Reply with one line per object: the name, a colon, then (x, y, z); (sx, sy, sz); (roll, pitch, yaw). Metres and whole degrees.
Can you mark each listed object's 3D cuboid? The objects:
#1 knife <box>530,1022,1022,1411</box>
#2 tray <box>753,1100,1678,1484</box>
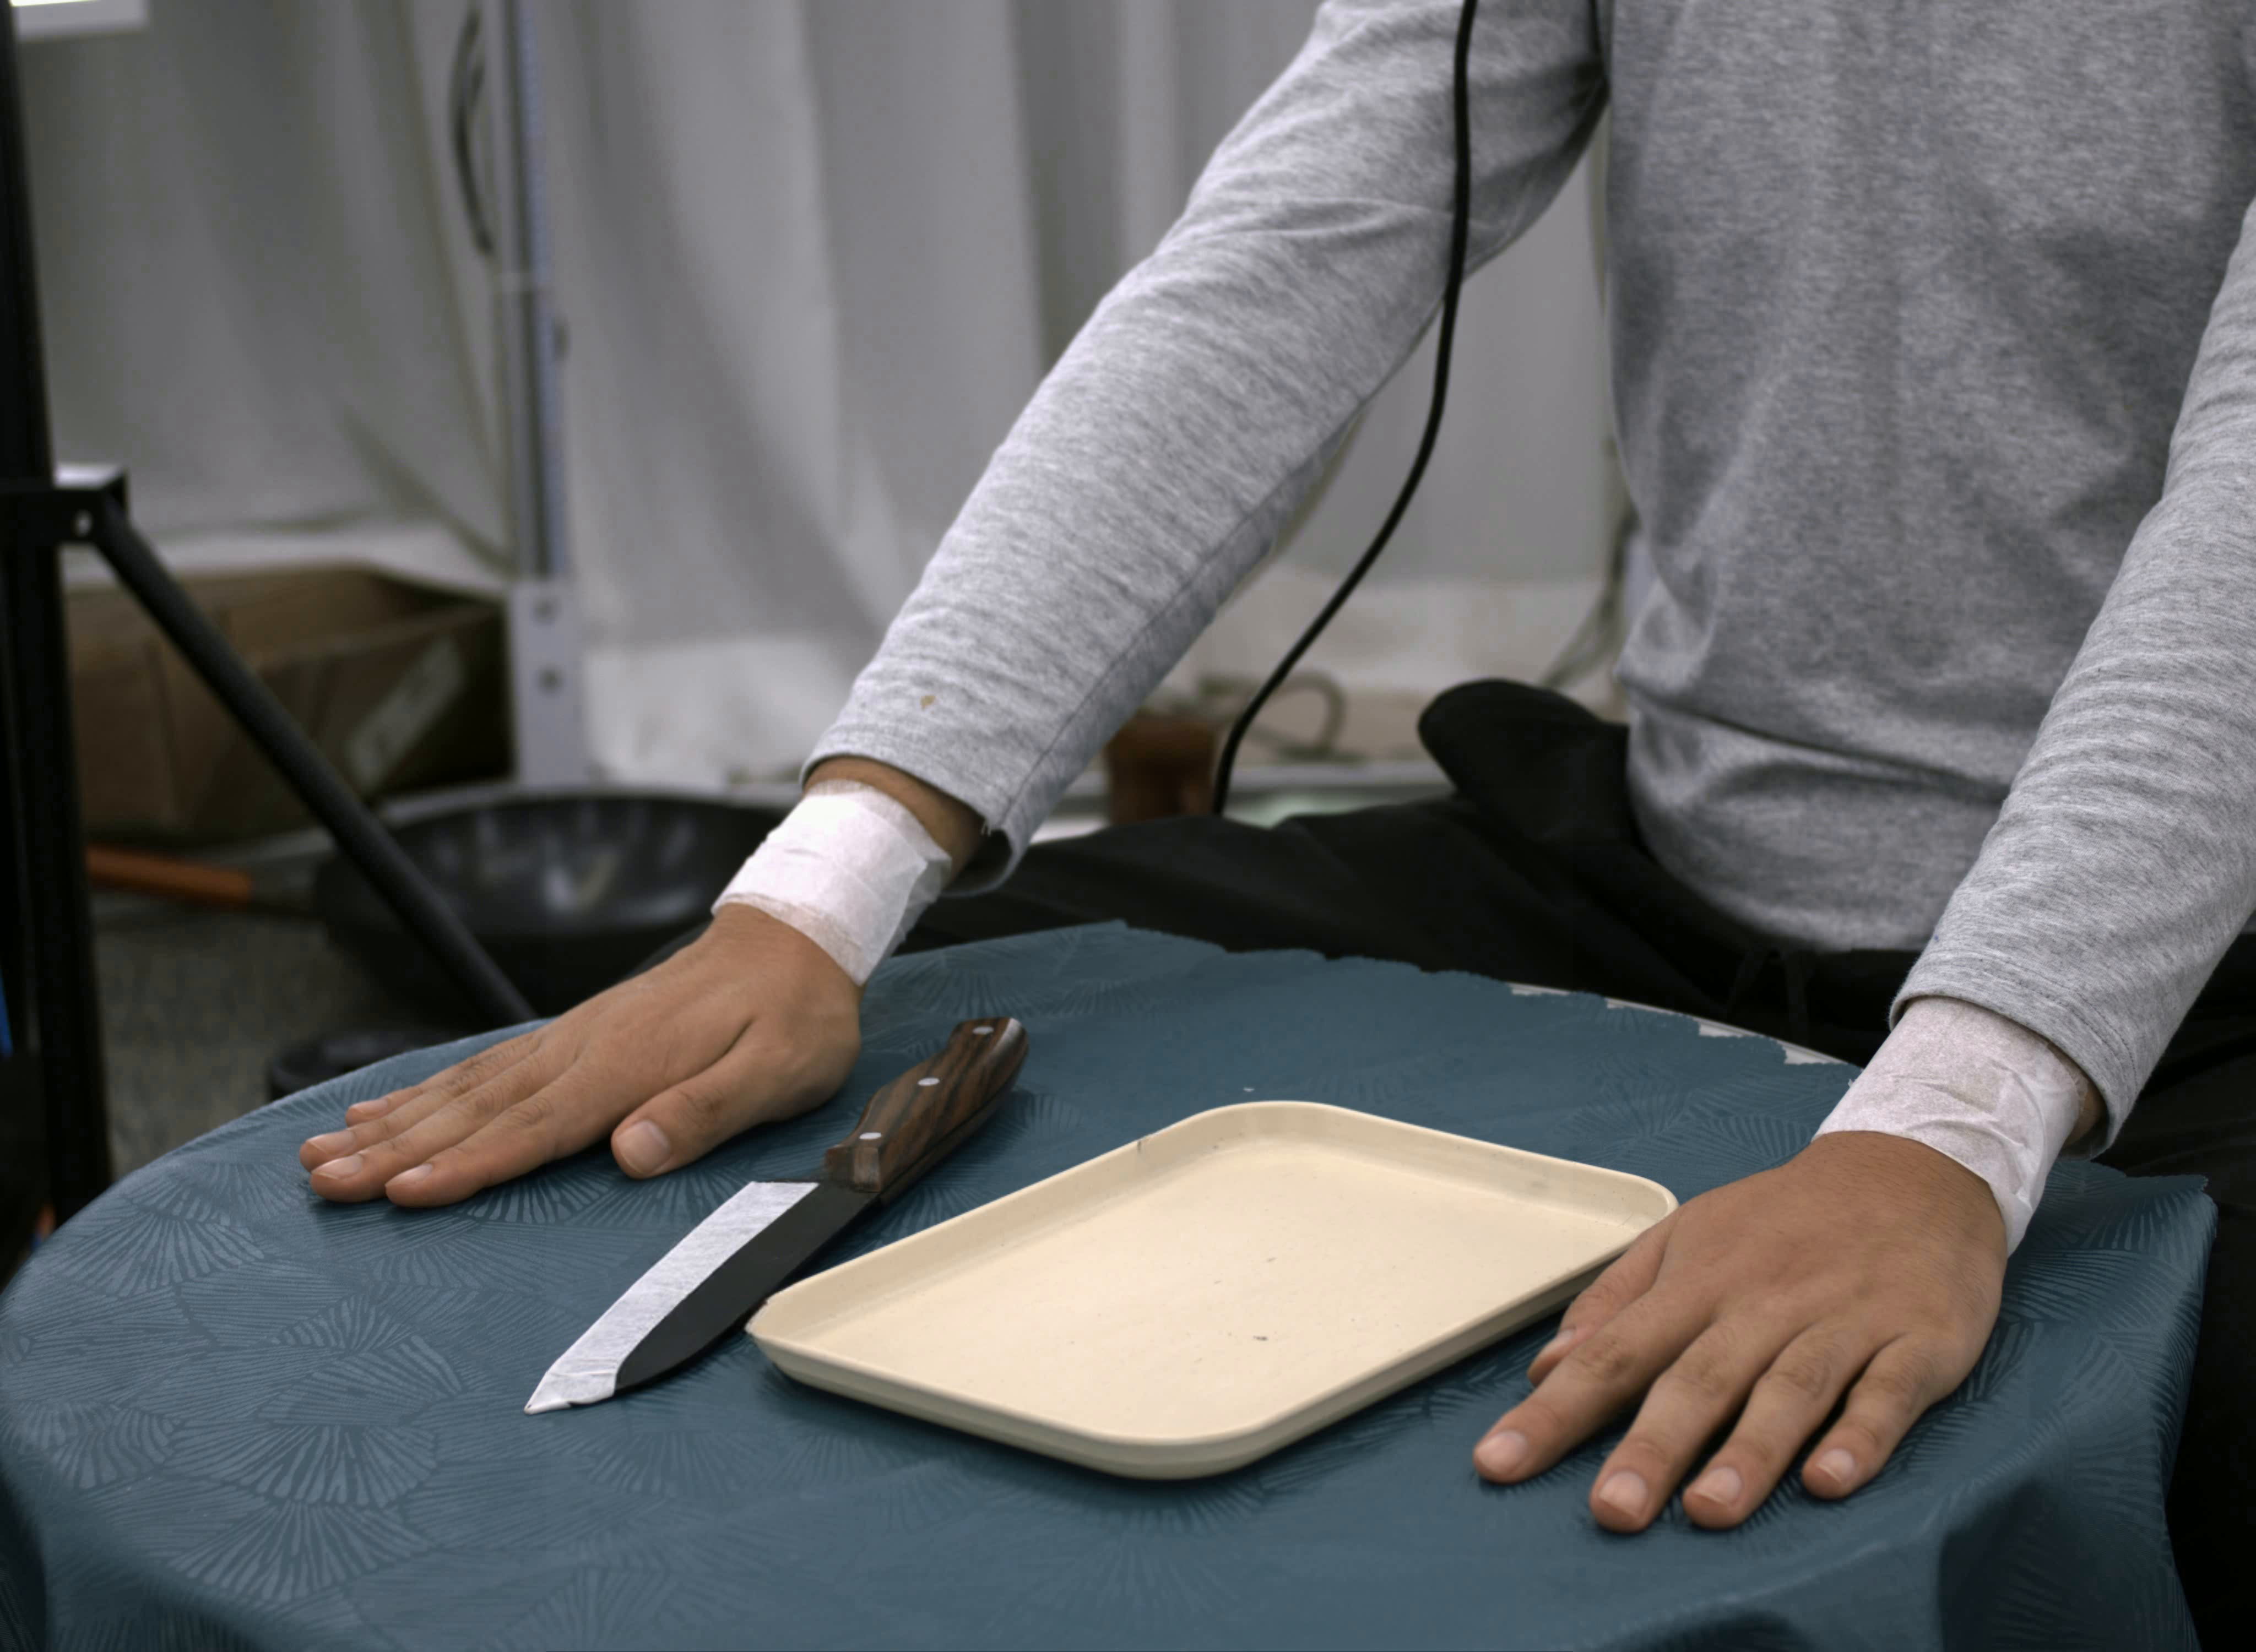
knife: (-0.097, 0.112, 1.535); (0.051, 0.020, 0.285); (-1, 18, 25)
tray: (0.027, 0.127, 1.461); (0.175, 0.017, 0.234); (12, 21, 40)
